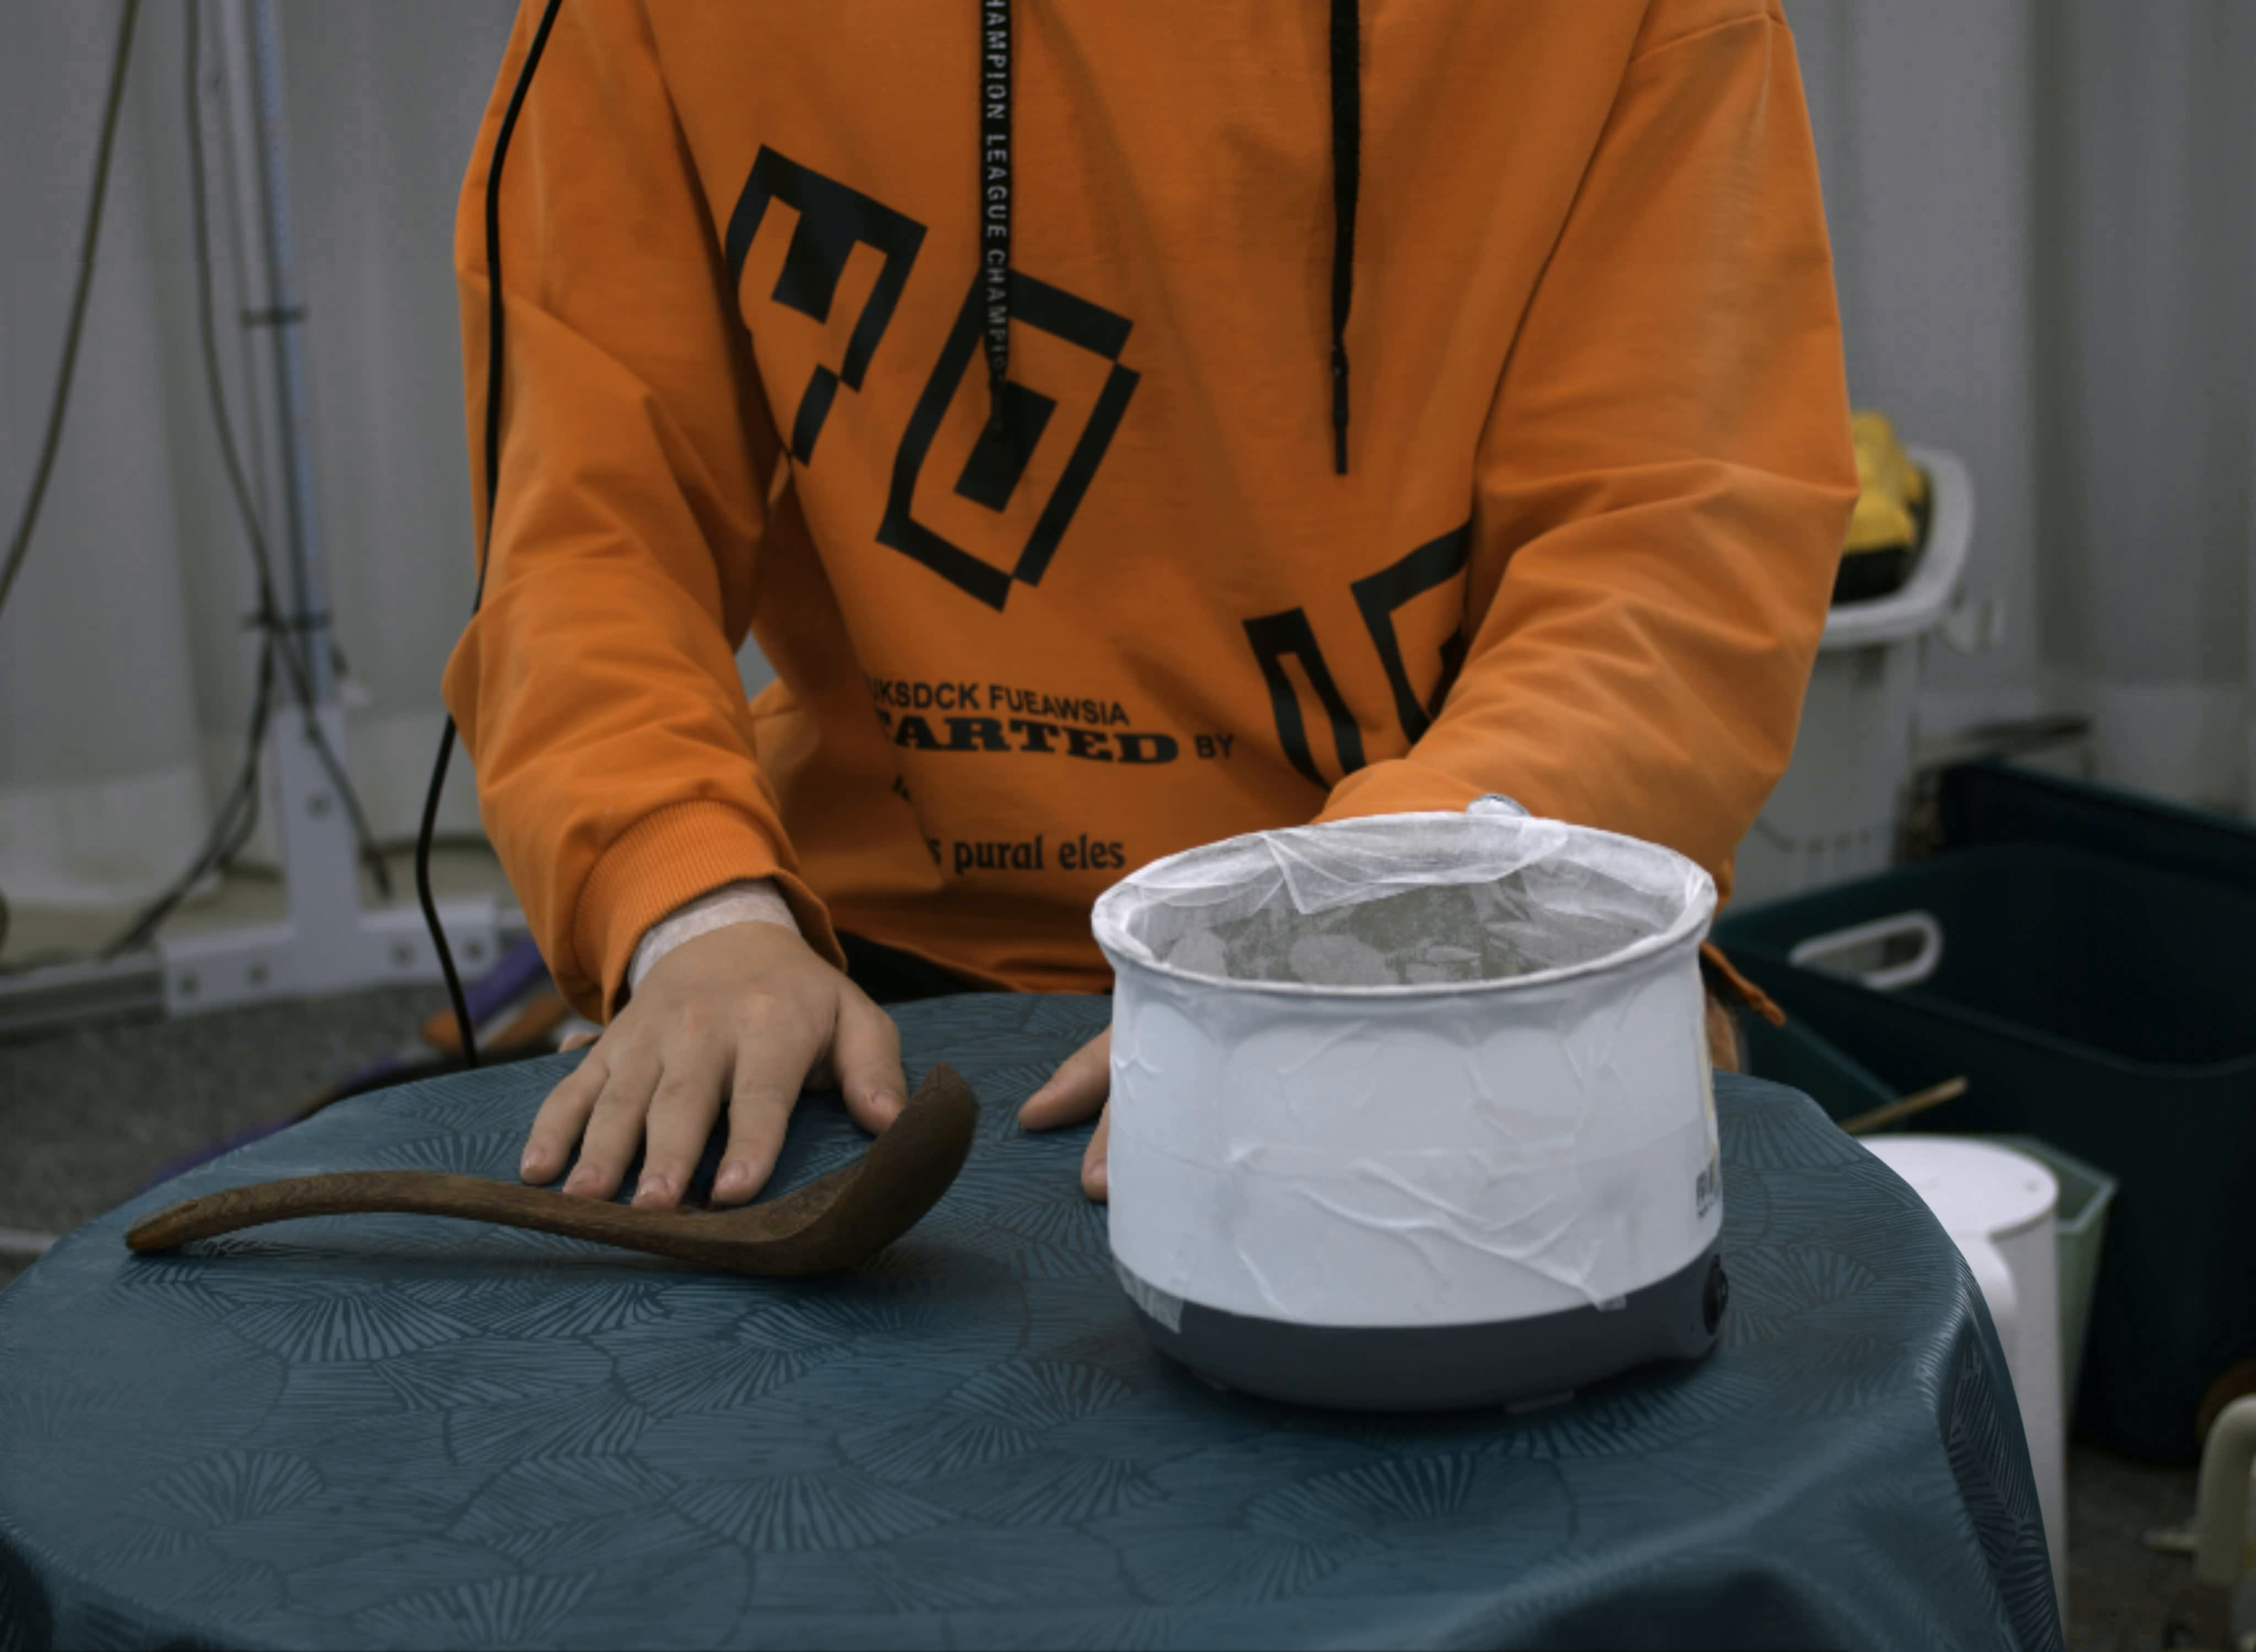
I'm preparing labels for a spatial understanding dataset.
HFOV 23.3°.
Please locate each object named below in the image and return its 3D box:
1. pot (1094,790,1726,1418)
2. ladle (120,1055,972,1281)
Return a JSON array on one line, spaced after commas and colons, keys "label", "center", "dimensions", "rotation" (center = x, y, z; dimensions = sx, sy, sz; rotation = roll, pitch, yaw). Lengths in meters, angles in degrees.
[{"label": "pot", "center": [0.089, 0.074, 1.584], "dimensions": [0.178, 0.136, 0.234], "rotation": [2, 16, 17]}, {"label": "ladle", "center": [-0.180, 0.100, 1.671], "dimensions": [0.274, 0.071, 0.076], "rotation": [2, 13, 14]}]
